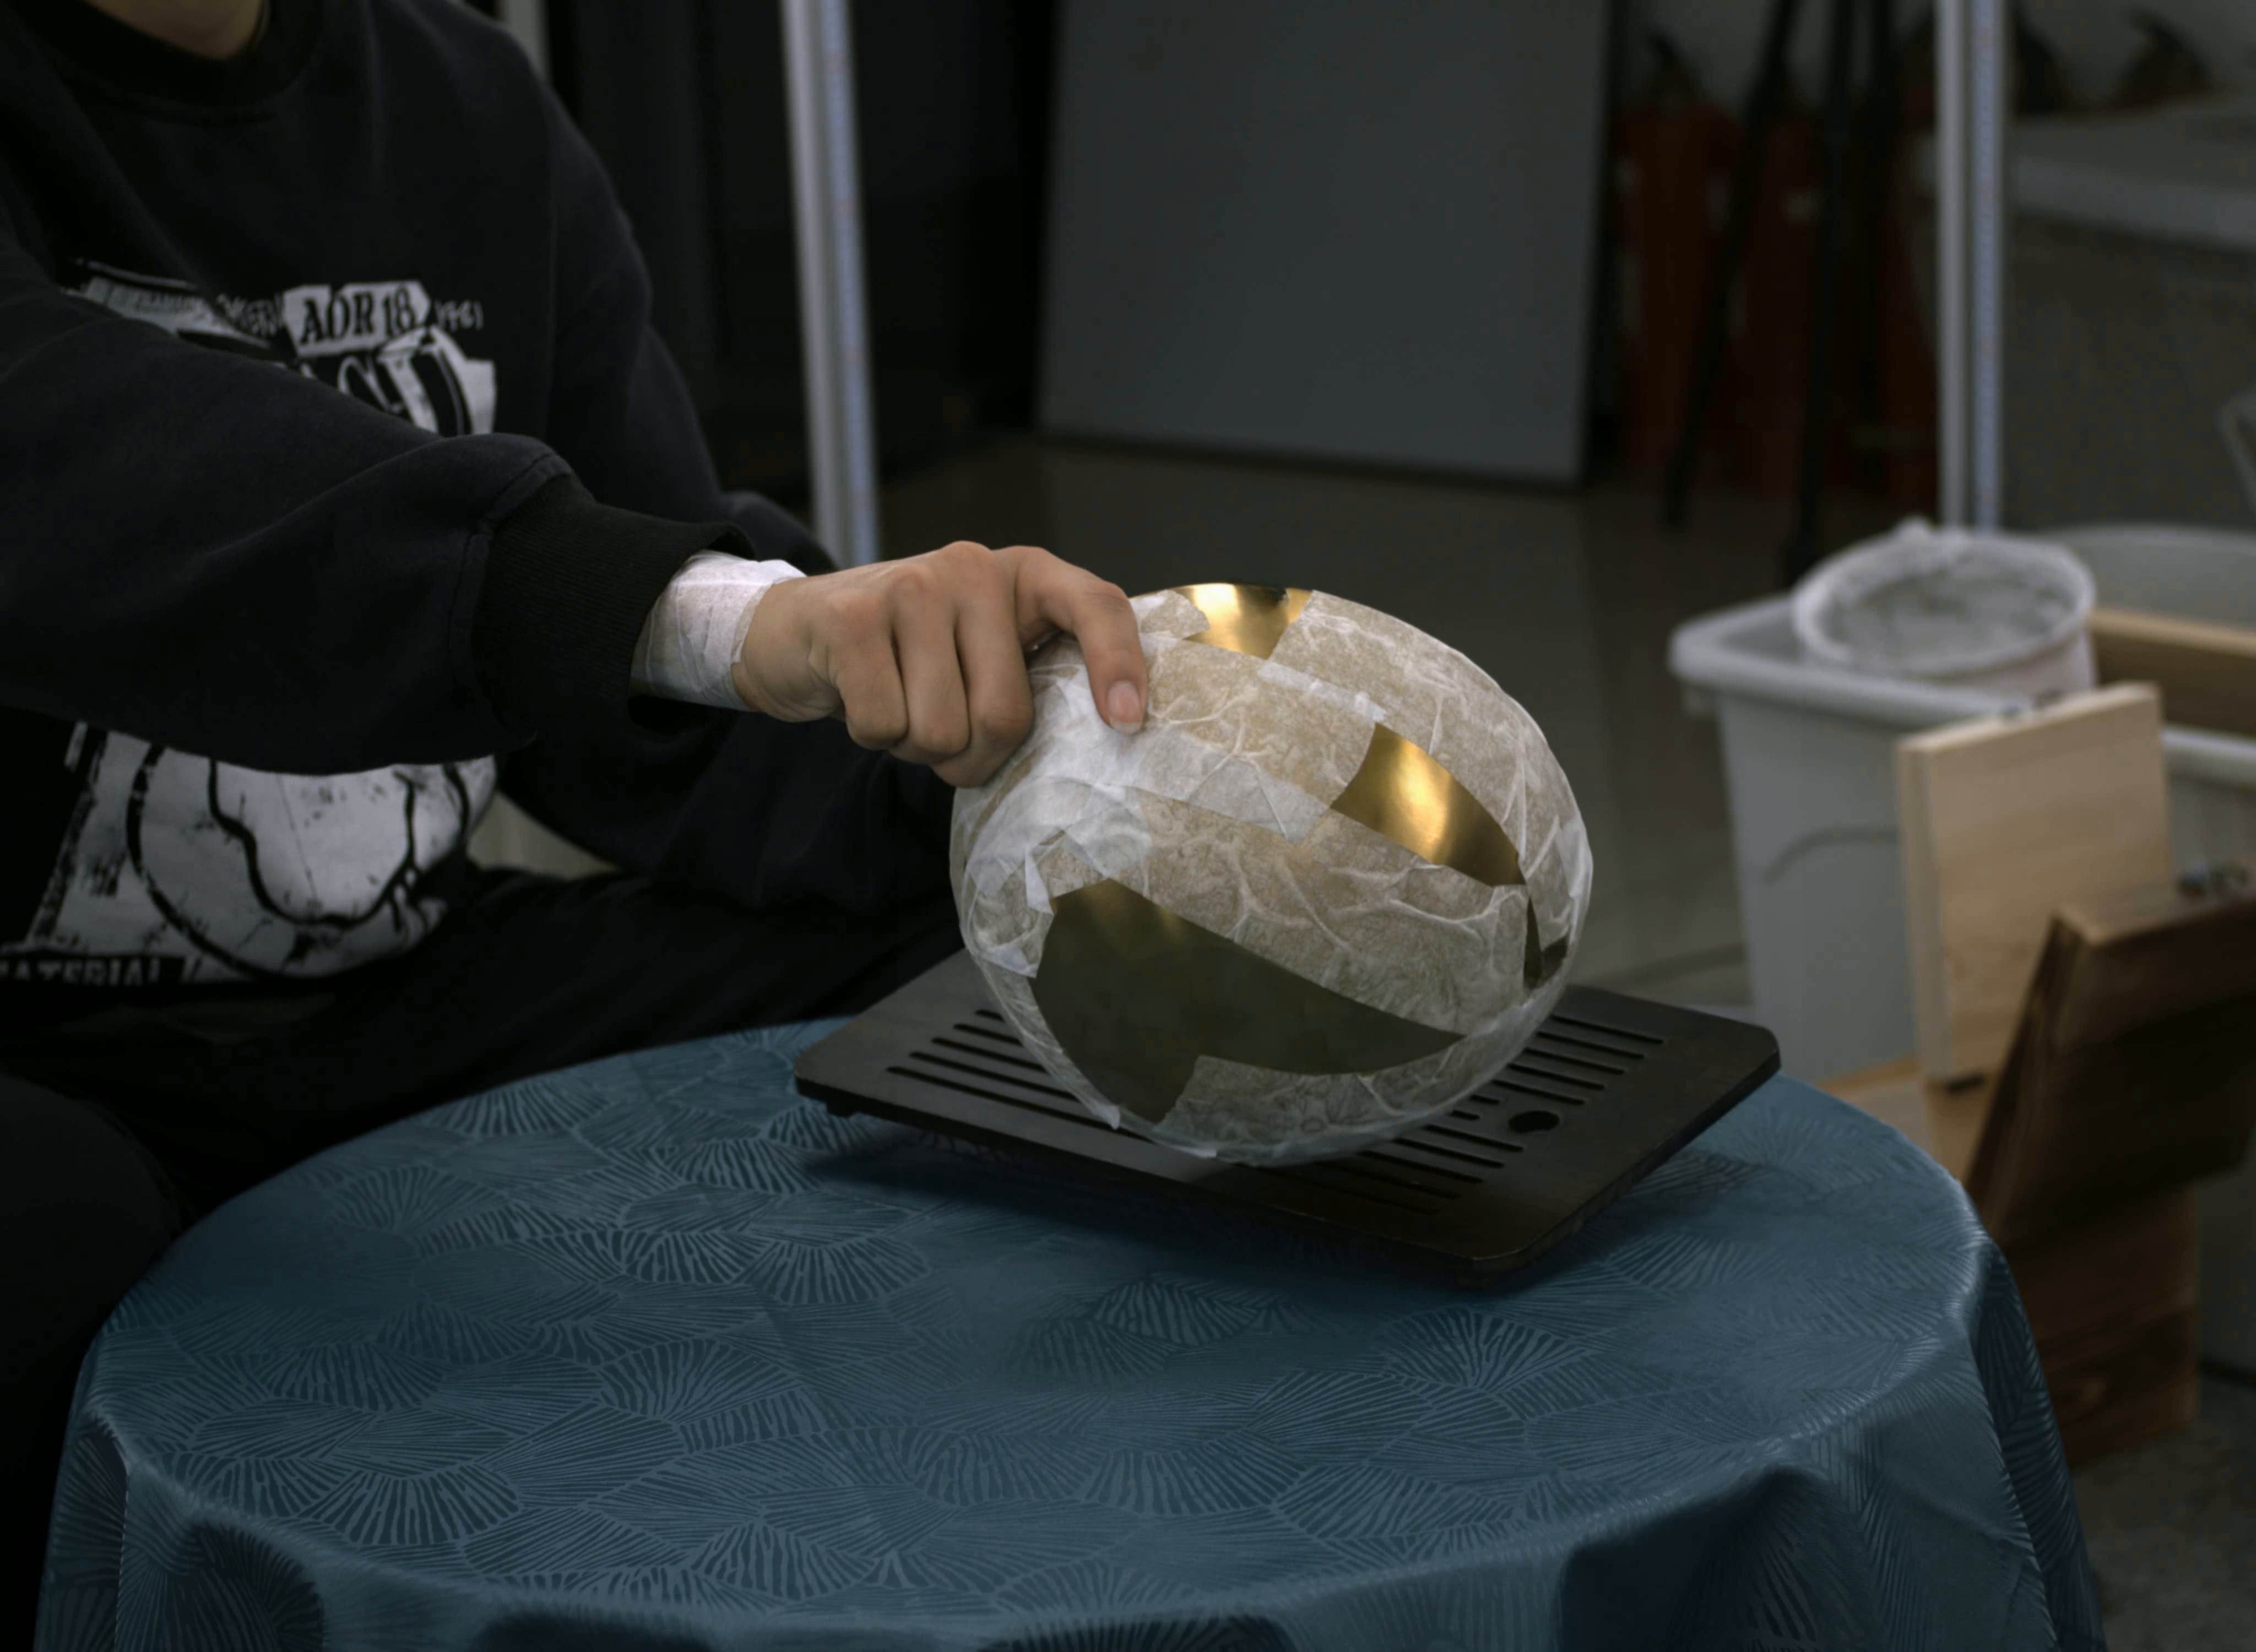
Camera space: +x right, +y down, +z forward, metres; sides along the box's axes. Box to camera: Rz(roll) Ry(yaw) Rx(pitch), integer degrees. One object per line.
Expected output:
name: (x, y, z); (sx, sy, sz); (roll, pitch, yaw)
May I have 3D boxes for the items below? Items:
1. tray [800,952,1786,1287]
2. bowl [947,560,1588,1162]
tray: (0.052, 0.082, 1.788); (0.308, 0.019, 0.167); (12, 31, 39)
bowl: (0.033, 0.032, 1.643); (0.214, 0.215, 0.094); (1, 37, 16)
